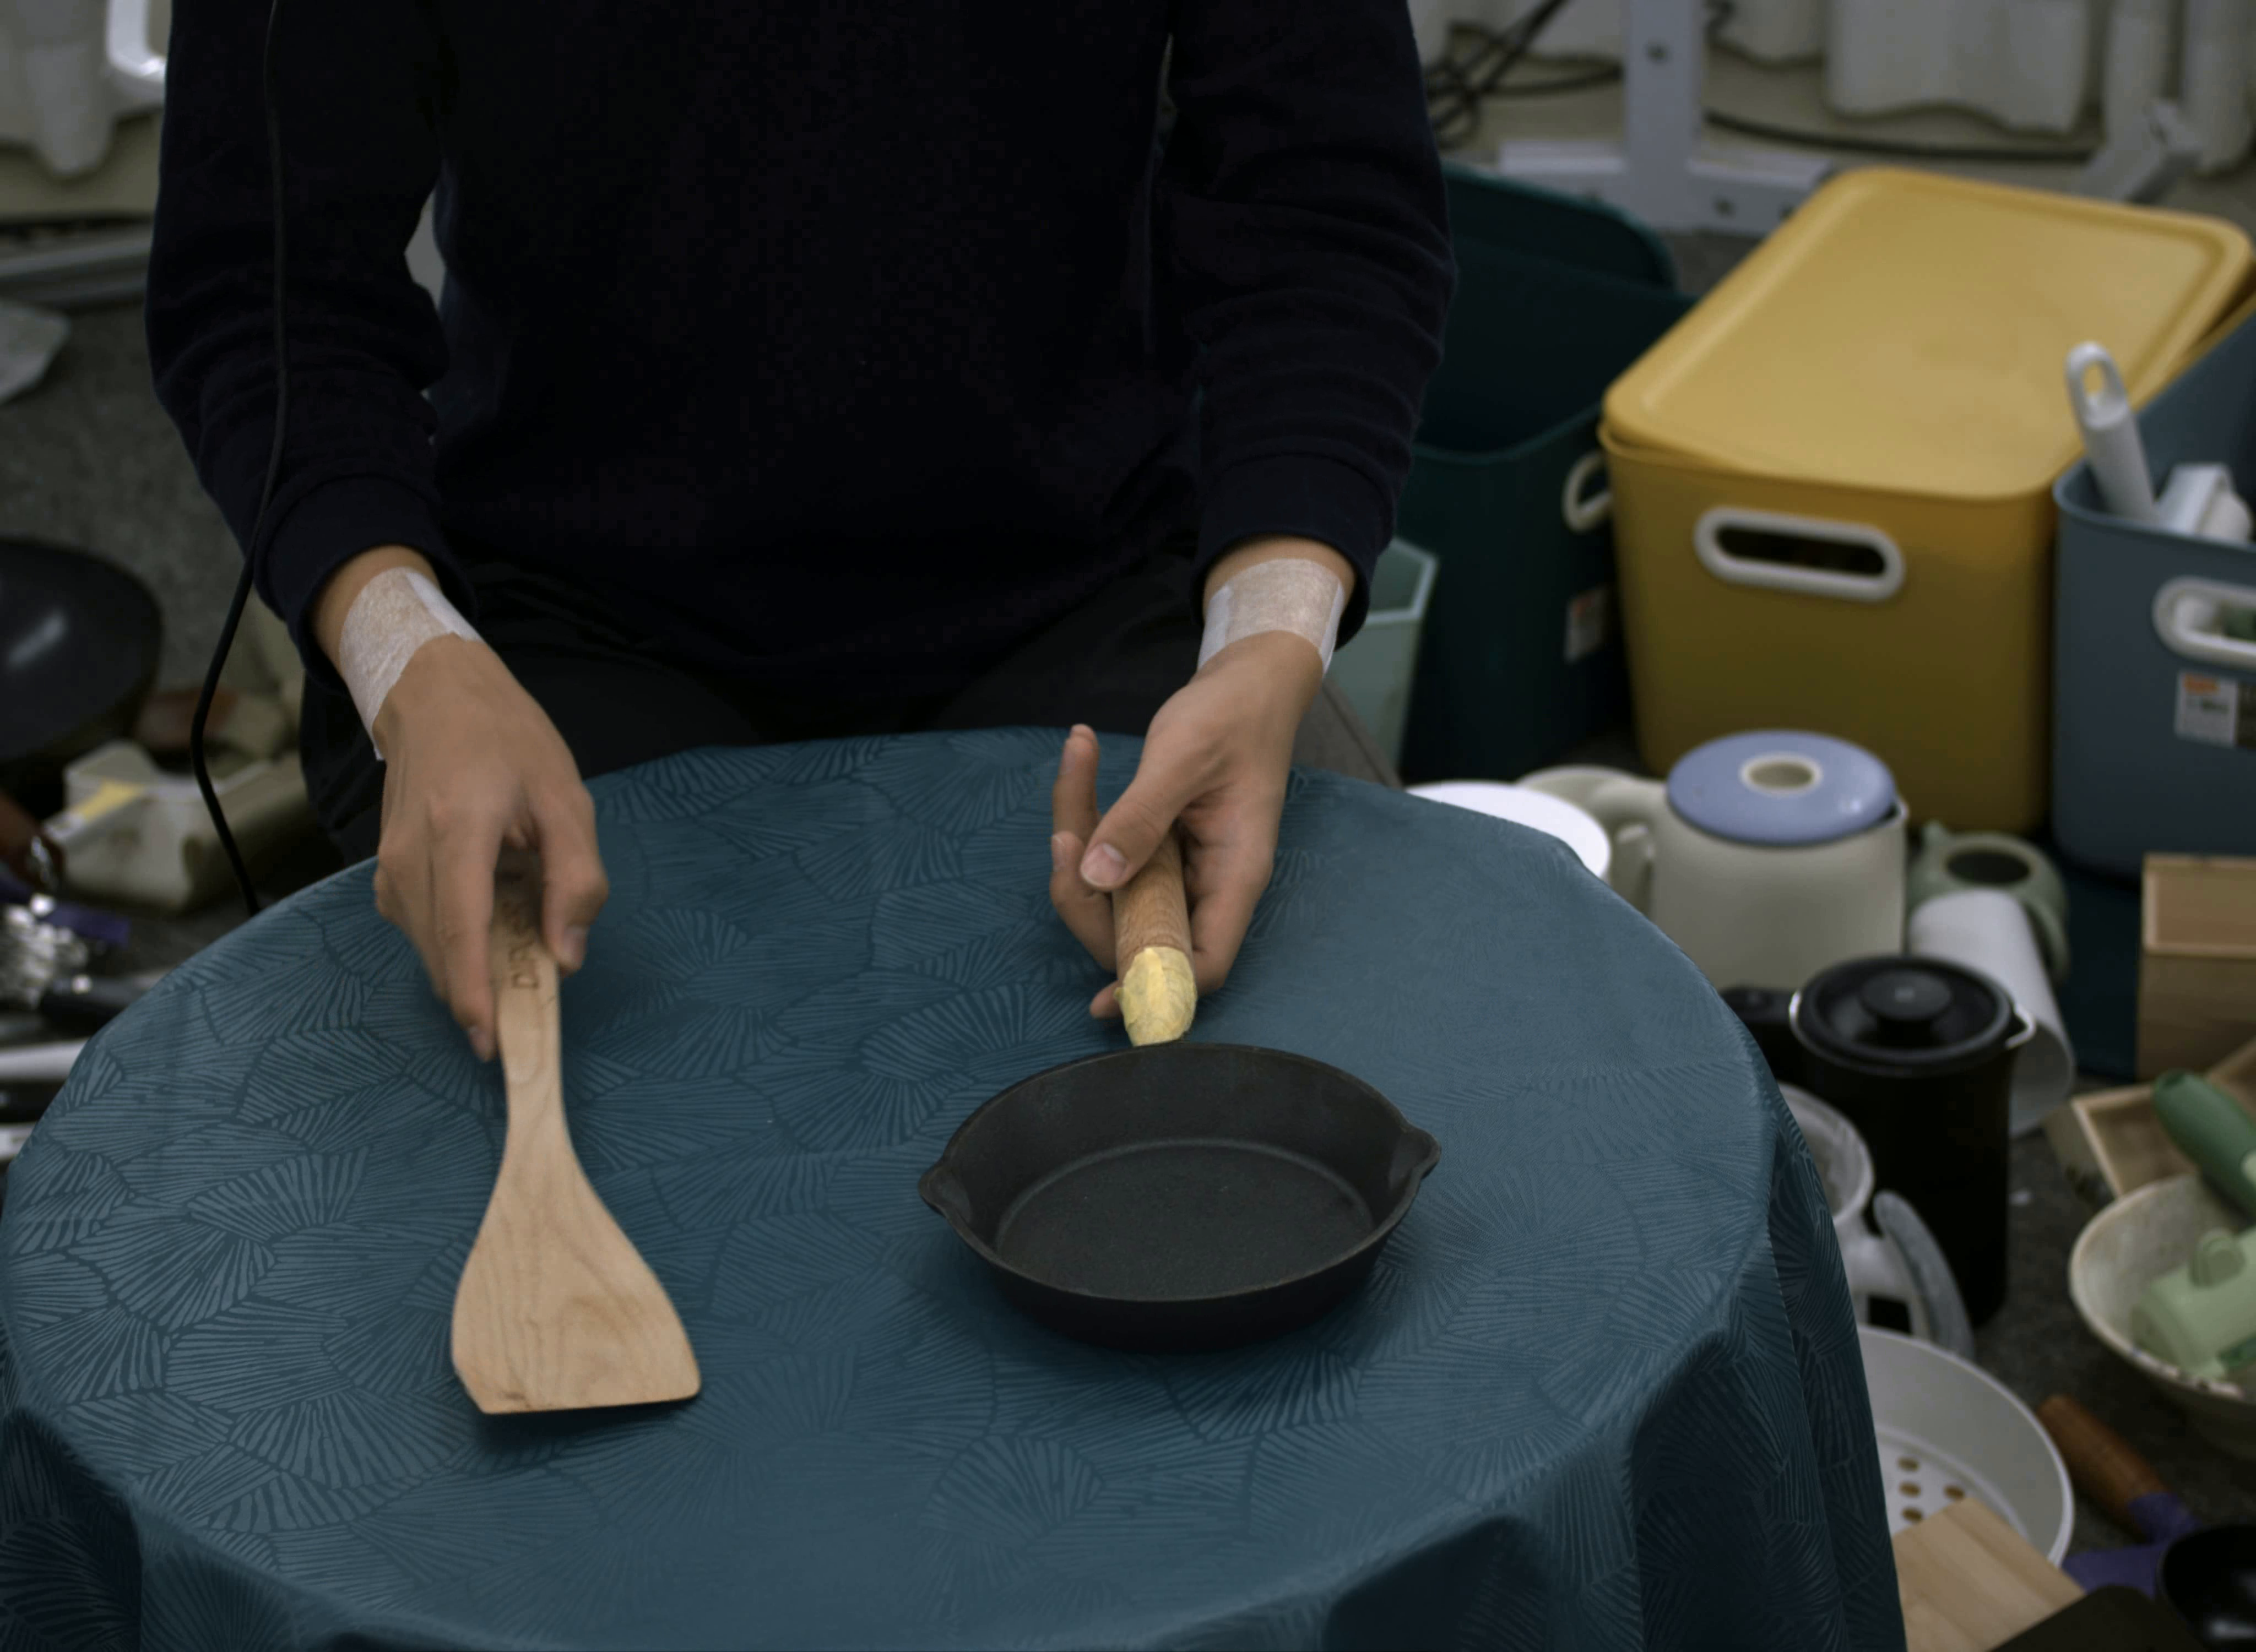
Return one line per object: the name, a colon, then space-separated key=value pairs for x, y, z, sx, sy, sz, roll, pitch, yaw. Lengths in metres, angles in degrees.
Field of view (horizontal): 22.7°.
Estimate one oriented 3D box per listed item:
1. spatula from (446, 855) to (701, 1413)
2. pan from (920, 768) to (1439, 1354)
spatula: x=-0.198 y=0.099 z=1.872 sx=0.080 sy=0.016 sz=0.332 roll=7 pitch=31 yaw=-16
pan: x=0.015 y=0.076 z=1.894 sx=0.168 sy=0.049 sz=0.329 roll=-3 pitch=29 yaw=0
